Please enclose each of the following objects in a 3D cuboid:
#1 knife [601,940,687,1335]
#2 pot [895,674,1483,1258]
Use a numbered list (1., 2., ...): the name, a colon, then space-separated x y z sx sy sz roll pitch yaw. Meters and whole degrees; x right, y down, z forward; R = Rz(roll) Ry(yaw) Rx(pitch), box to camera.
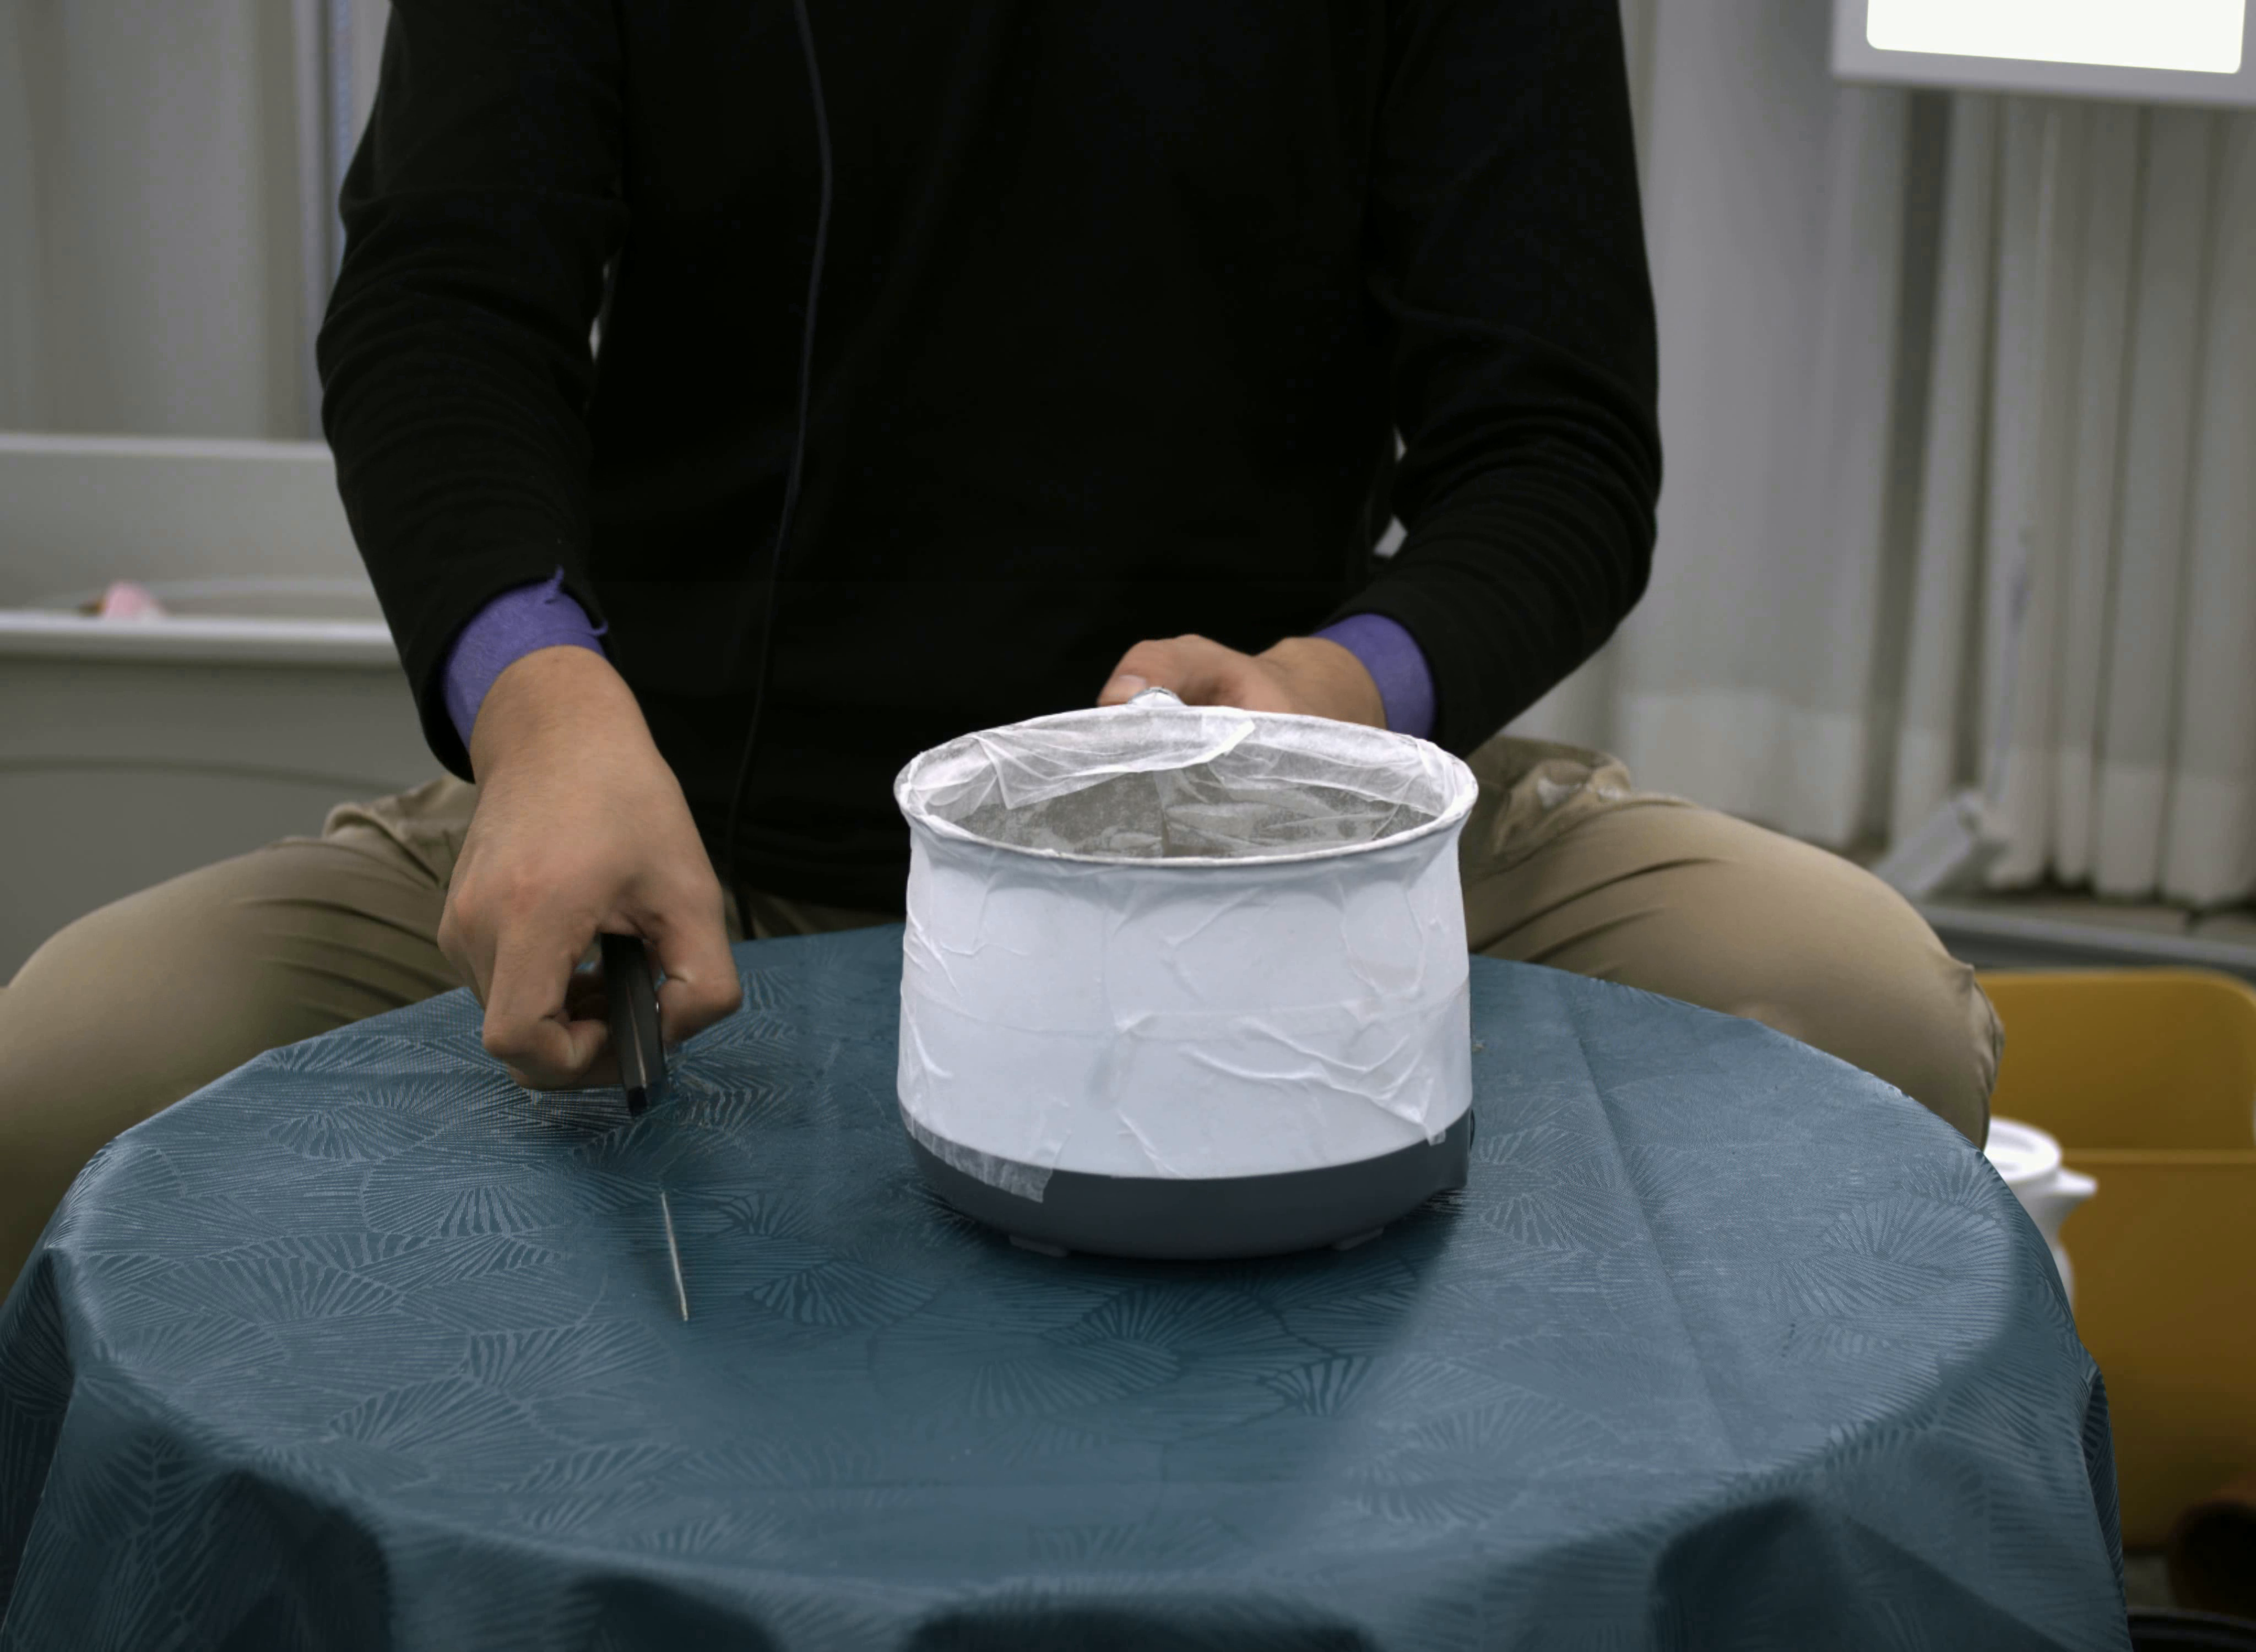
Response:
1. knife: -0.146 0.092 1.608 0.016 0.025 0.236 -17 27 -1
2. pot: 0.015 0.038 1.626 0.178 0.138 0.232 -1 17 -7
